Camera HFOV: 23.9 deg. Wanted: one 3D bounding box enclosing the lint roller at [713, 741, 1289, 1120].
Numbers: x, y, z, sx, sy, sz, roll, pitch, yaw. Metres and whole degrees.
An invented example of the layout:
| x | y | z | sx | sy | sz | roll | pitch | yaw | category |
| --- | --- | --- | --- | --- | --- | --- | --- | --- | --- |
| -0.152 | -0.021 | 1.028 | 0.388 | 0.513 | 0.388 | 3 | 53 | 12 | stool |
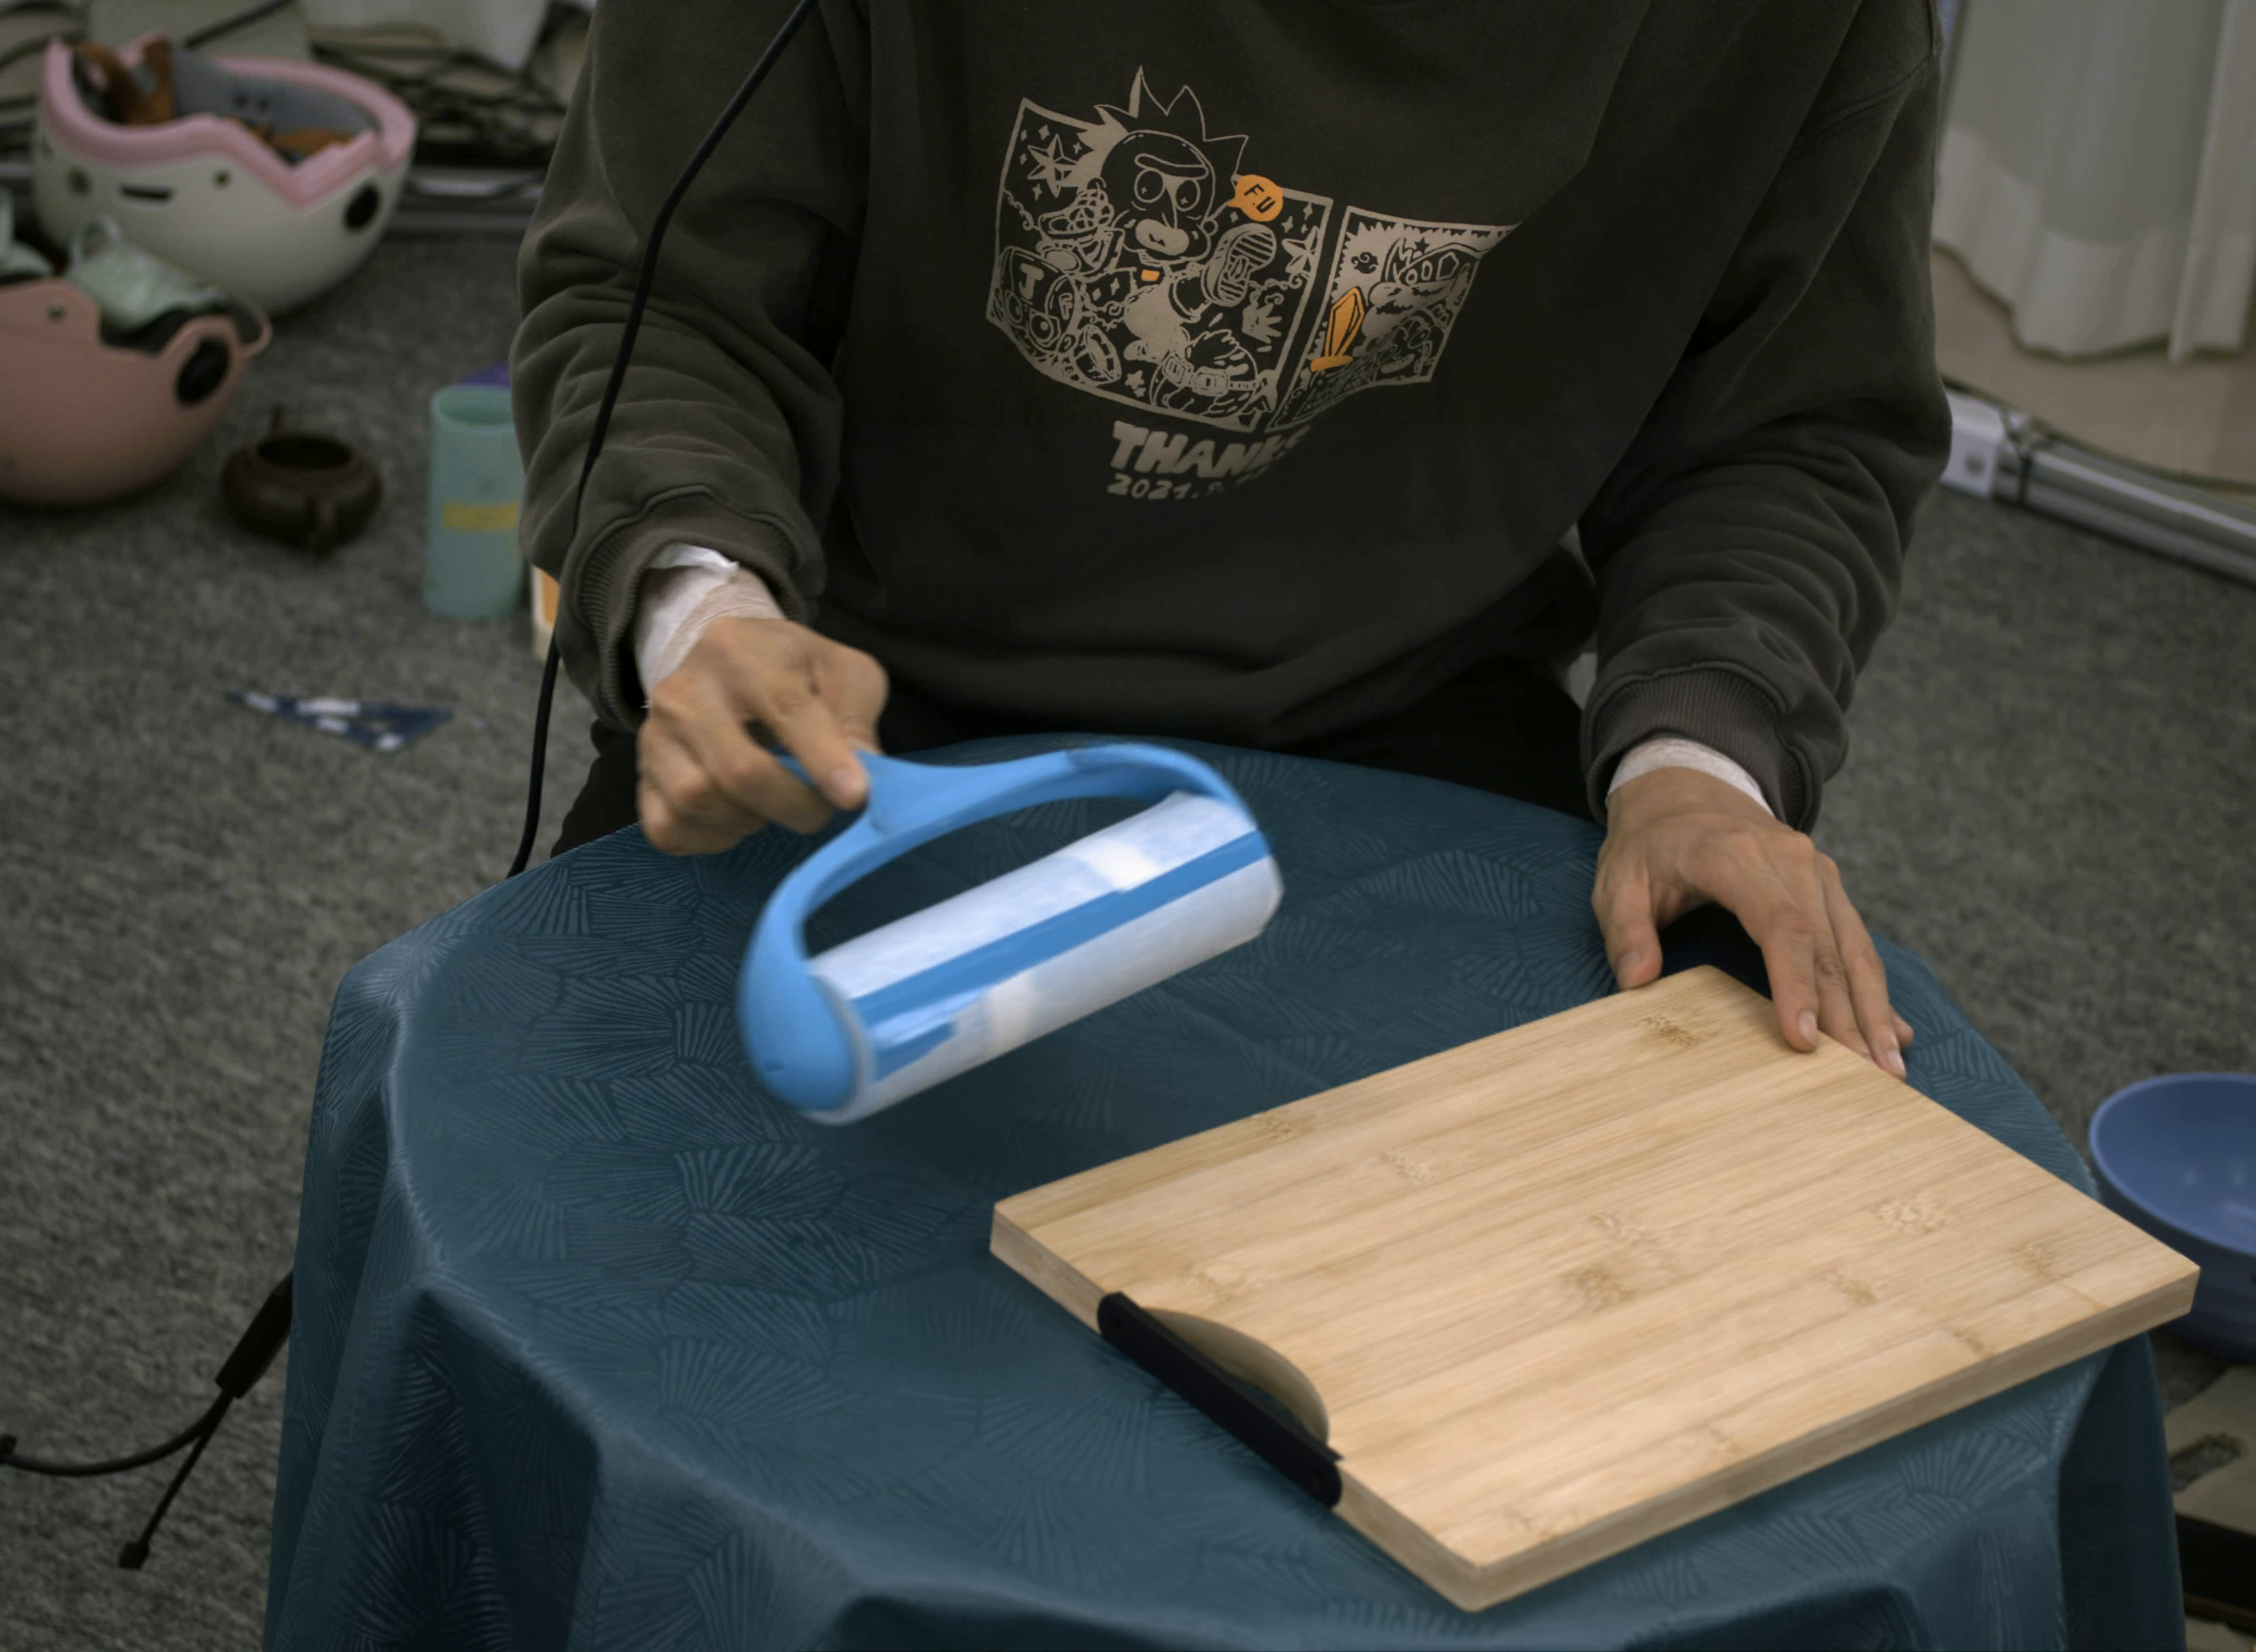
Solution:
| x | y | z | sx | sy | sz | roll | pitch | yaw | category |
| --- | --- | --- | --- | --- | --- | --- | --- | --- | --- |
| -0.072 | 0.010 | 1.787 | 0.181 | 0.067 | 0.228 | 35 | 40 | 28 | lint roller |

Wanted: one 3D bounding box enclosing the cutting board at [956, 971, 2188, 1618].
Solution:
| x | y | z | sx | sy | sz | roll | pitch | yaw | category |
| --- | --- | --- | --- | --- | --- | --- | --- | --- | --- |
| 0.152 | 0.147 | 1.775 | 0.346 | 0.023 | 0.253 | -16 | 34 | -38 | cutting board |
